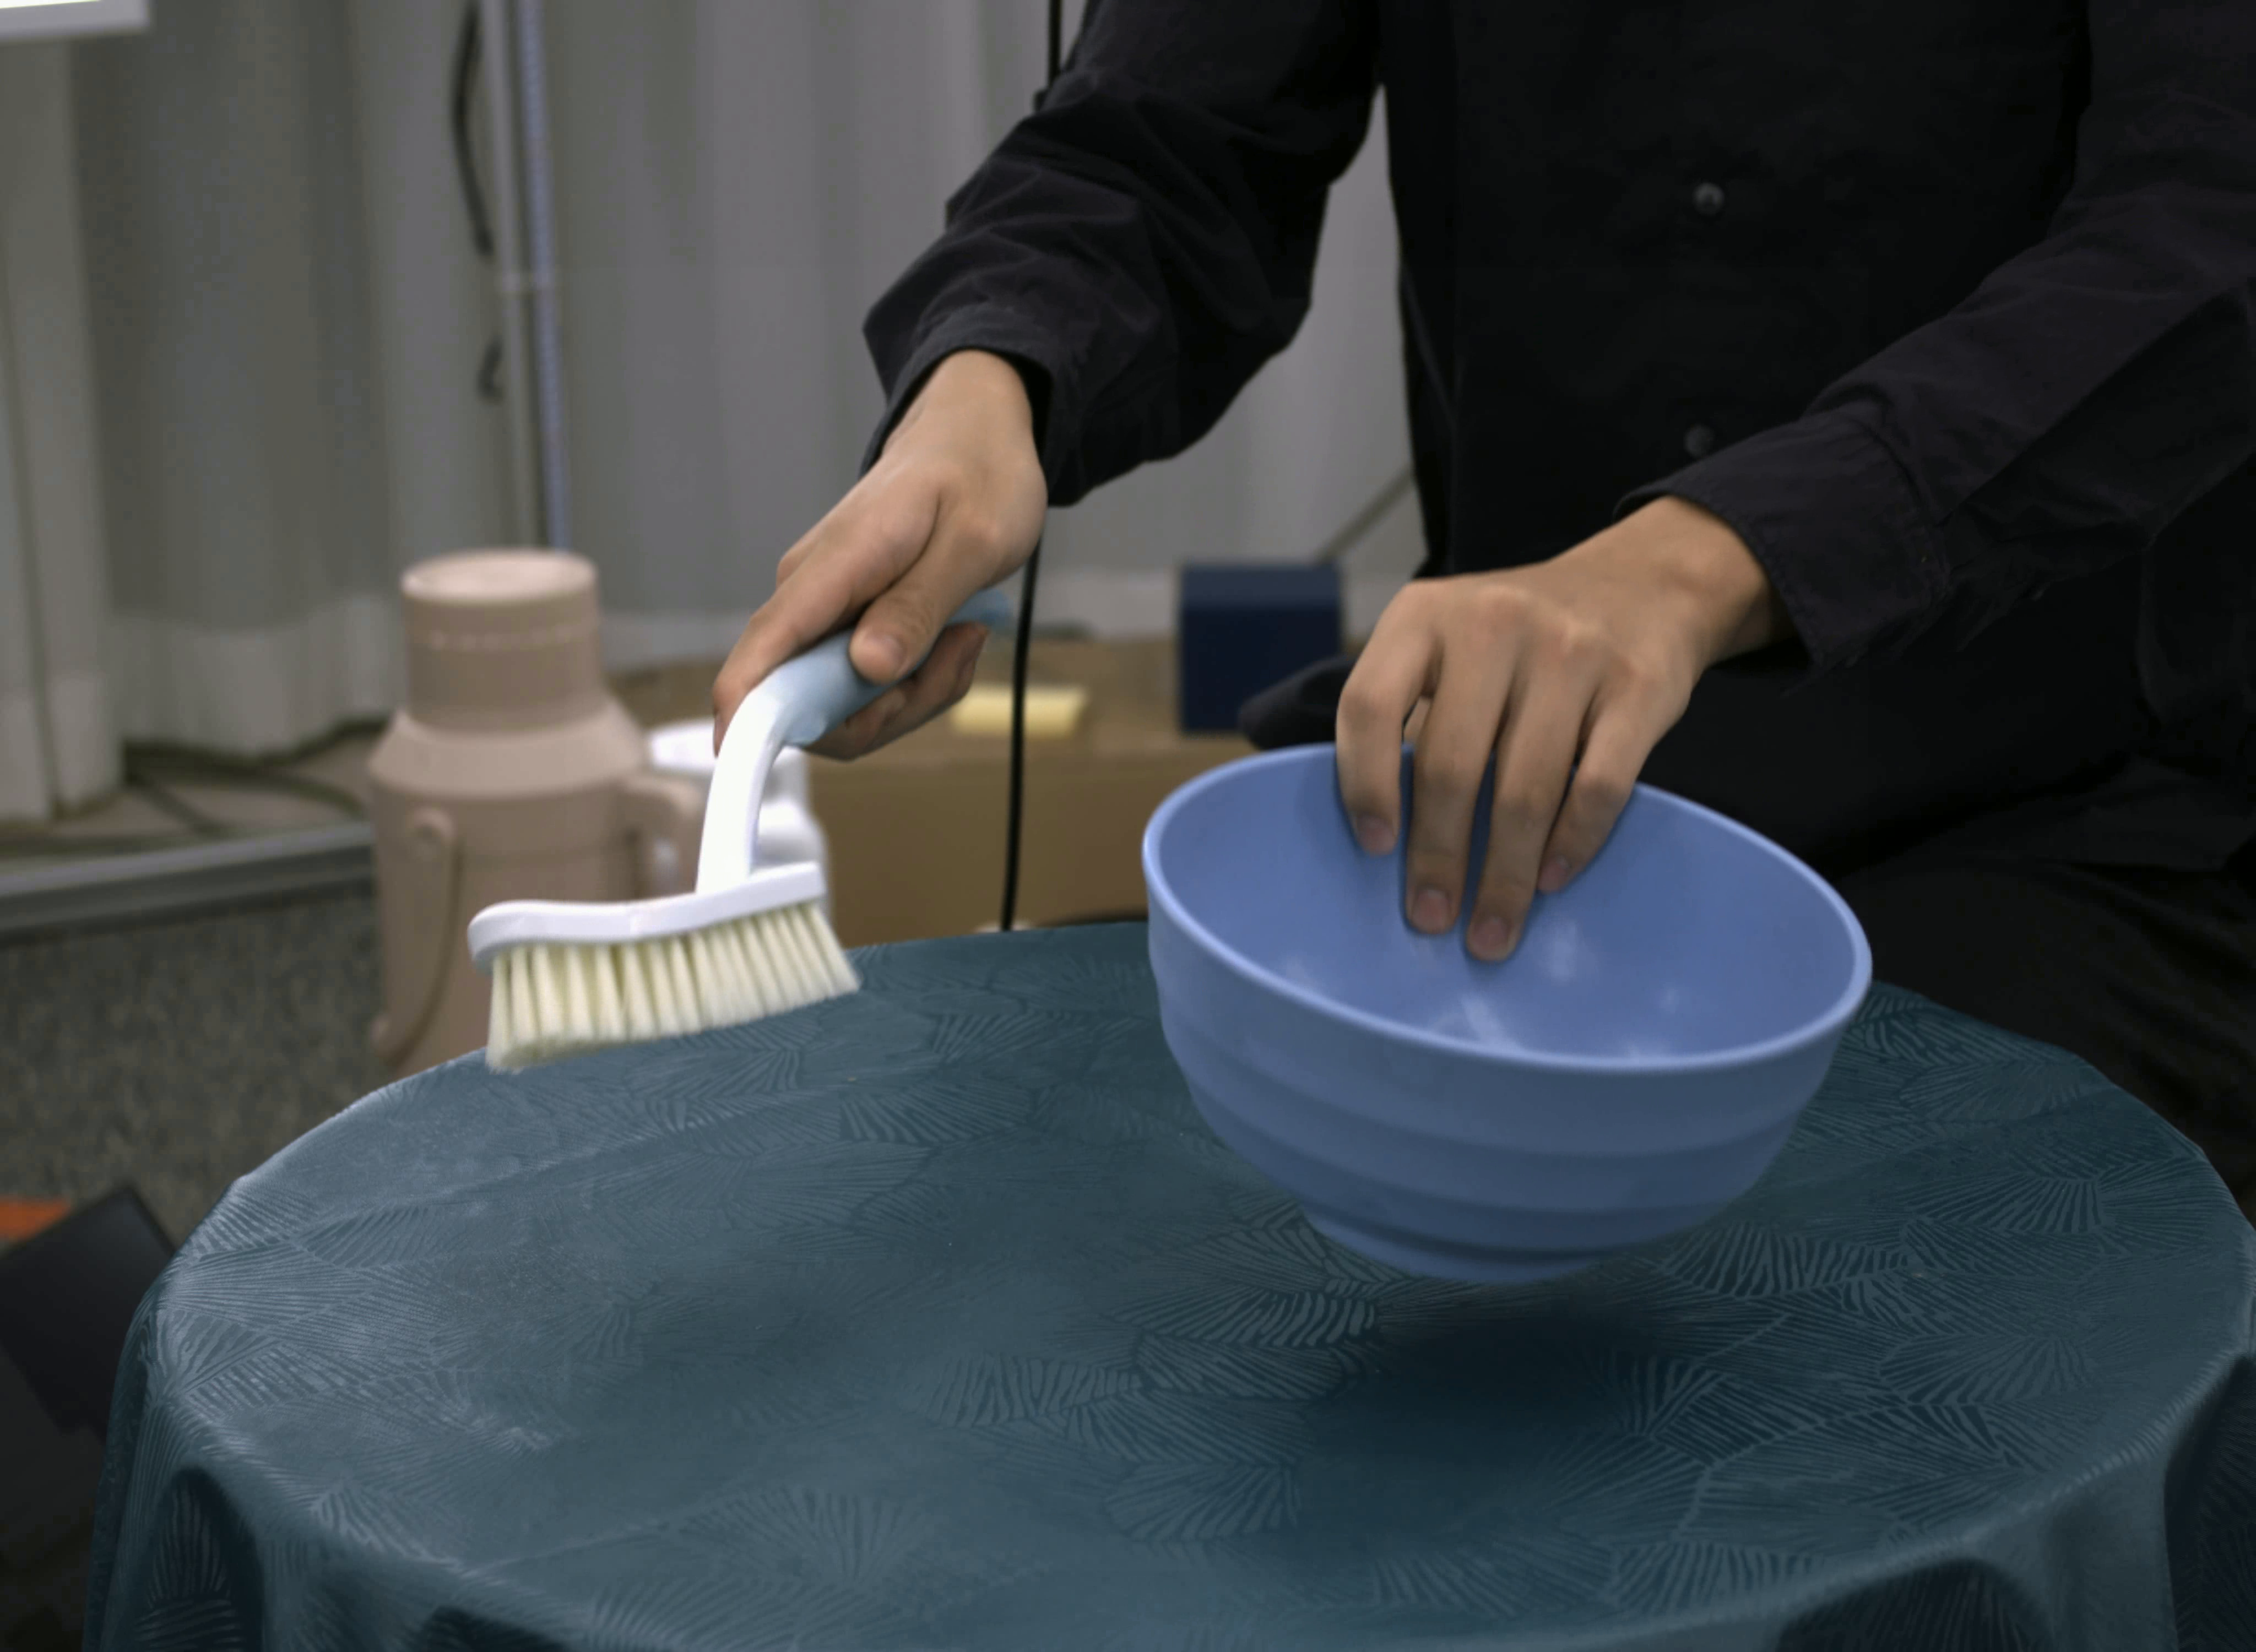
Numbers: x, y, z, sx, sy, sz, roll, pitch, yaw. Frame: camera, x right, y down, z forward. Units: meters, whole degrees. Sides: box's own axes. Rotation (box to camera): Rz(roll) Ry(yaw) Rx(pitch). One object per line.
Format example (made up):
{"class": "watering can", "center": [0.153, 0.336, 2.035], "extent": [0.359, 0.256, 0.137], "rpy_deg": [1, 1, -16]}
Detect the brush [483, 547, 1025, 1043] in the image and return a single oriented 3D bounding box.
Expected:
{"class": "brush", "center": [-0.089, 0.004, 1.563], "extent": [0.084, 0.085, 0.321], "rpy_deg": [24, 26, 15]}

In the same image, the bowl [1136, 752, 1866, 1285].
{"class": "bowl", "center": [0.092, 0.060, 1.424], "extent": [0.195, 0.095, 0.198], "rpy_deg": [7, 22, -4]}
